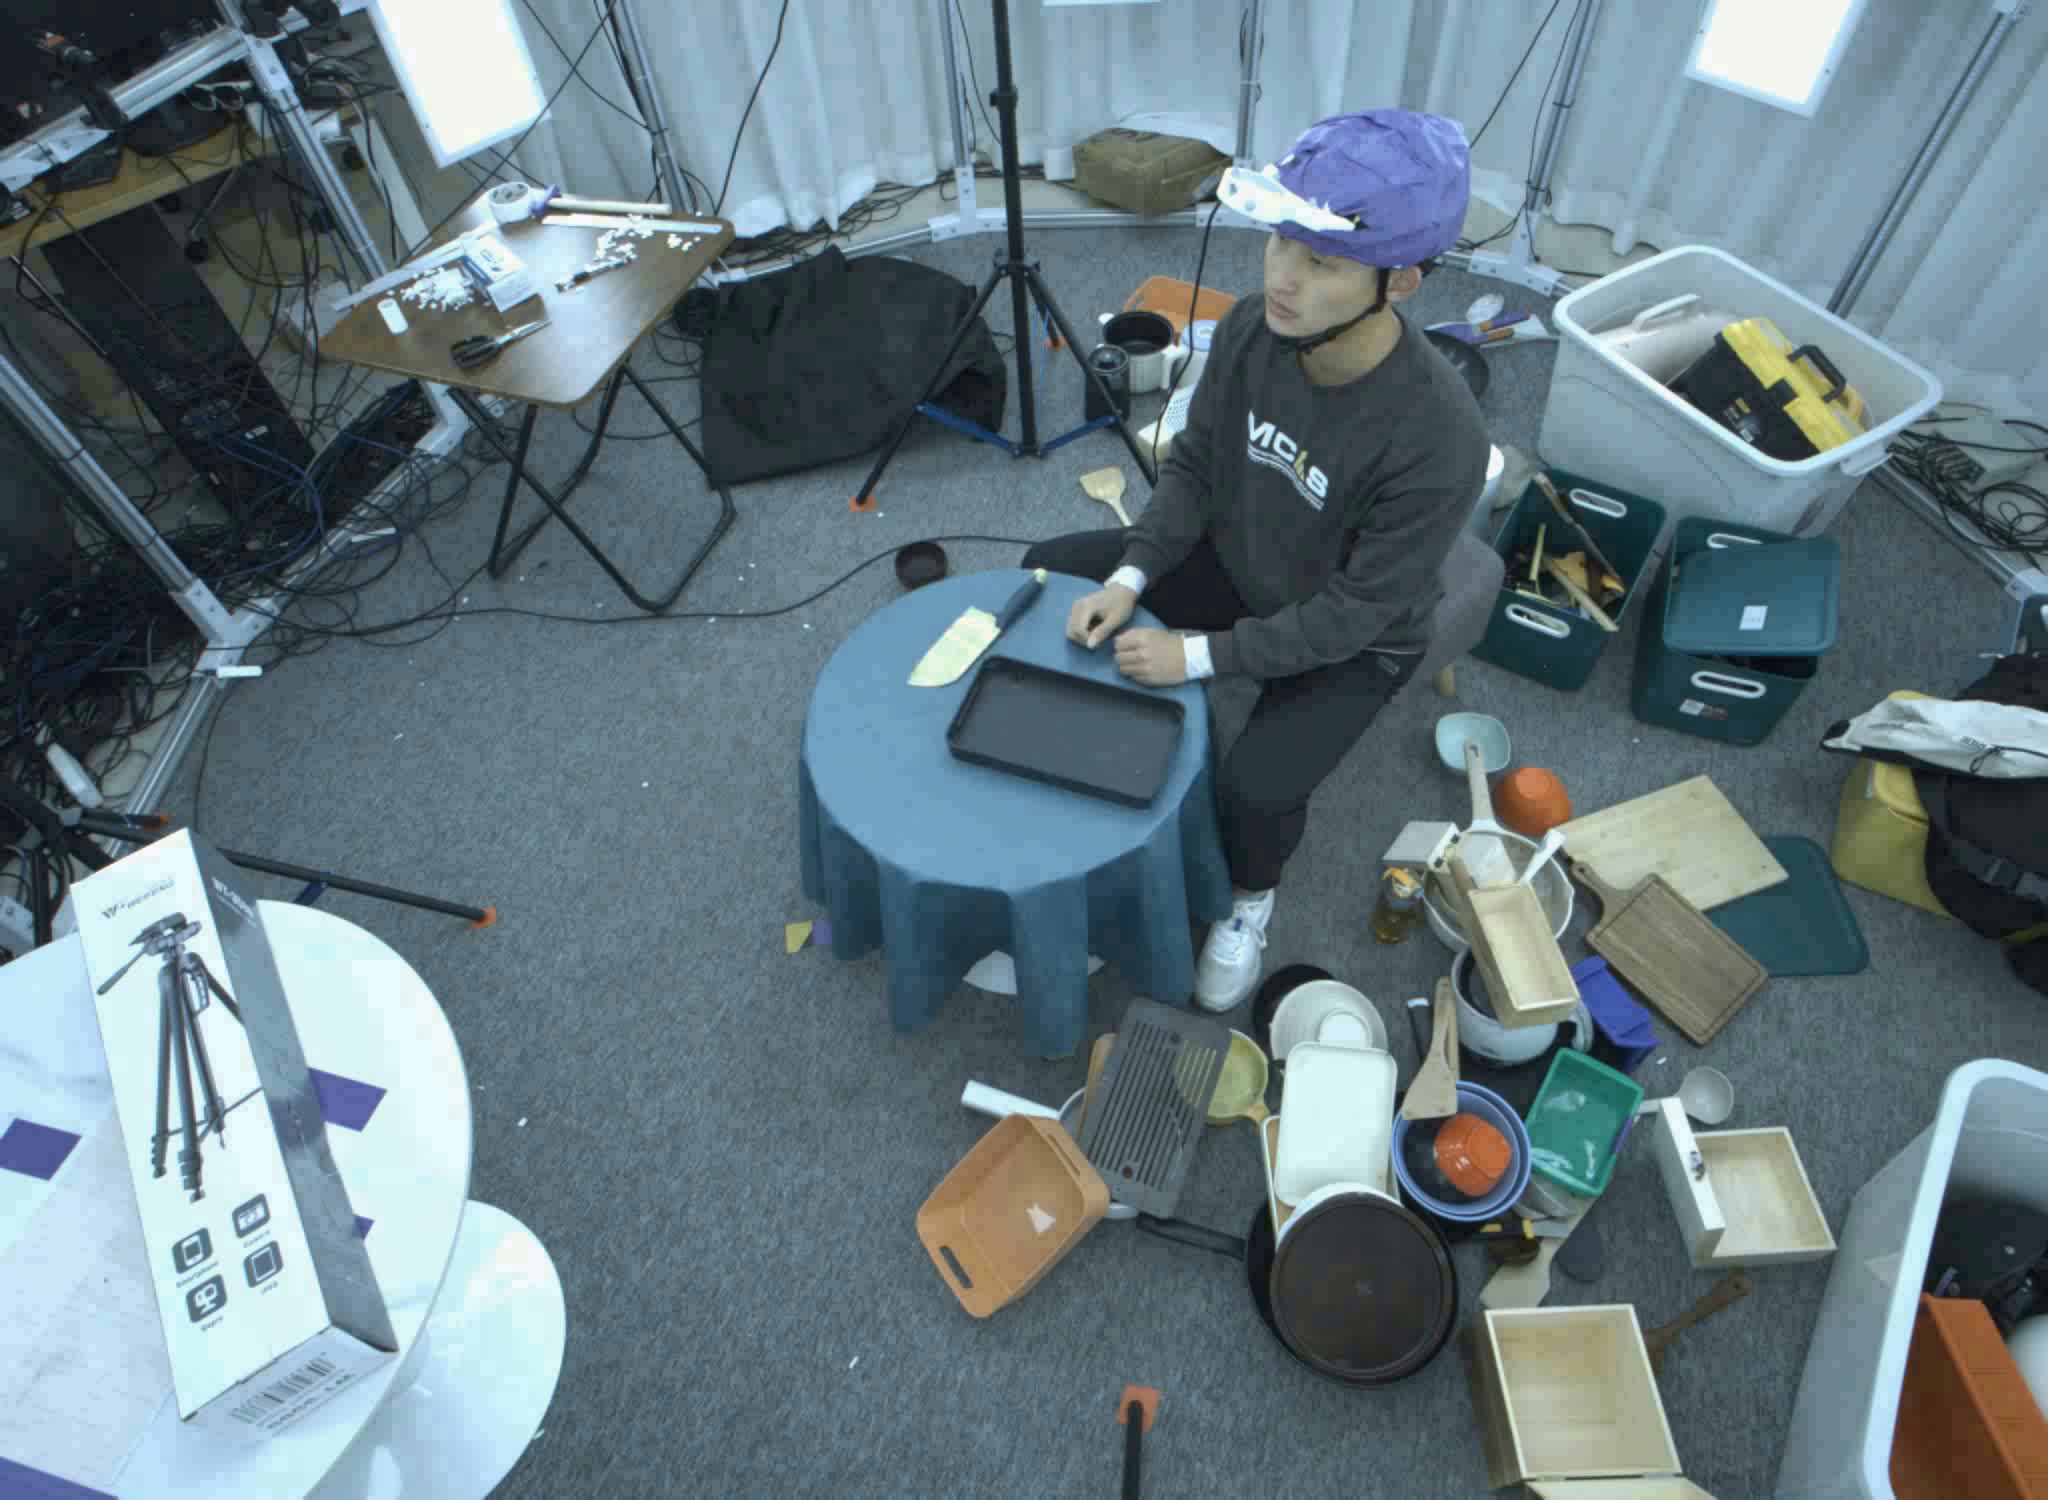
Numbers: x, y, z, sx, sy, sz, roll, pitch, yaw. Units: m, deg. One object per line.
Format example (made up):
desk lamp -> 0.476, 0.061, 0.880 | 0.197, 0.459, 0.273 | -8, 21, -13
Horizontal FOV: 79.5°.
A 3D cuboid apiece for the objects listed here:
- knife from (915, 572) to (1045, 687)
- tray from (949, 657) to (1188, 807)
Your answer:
knife -> -0.069, -0.193, 1.926 | 0.080, 0.027, 0.291 | 33, 62, 21
tray -> 0.066, -0.029, 1.792 | 0.315, 0.037, 0.184 | 14, 55, 11
